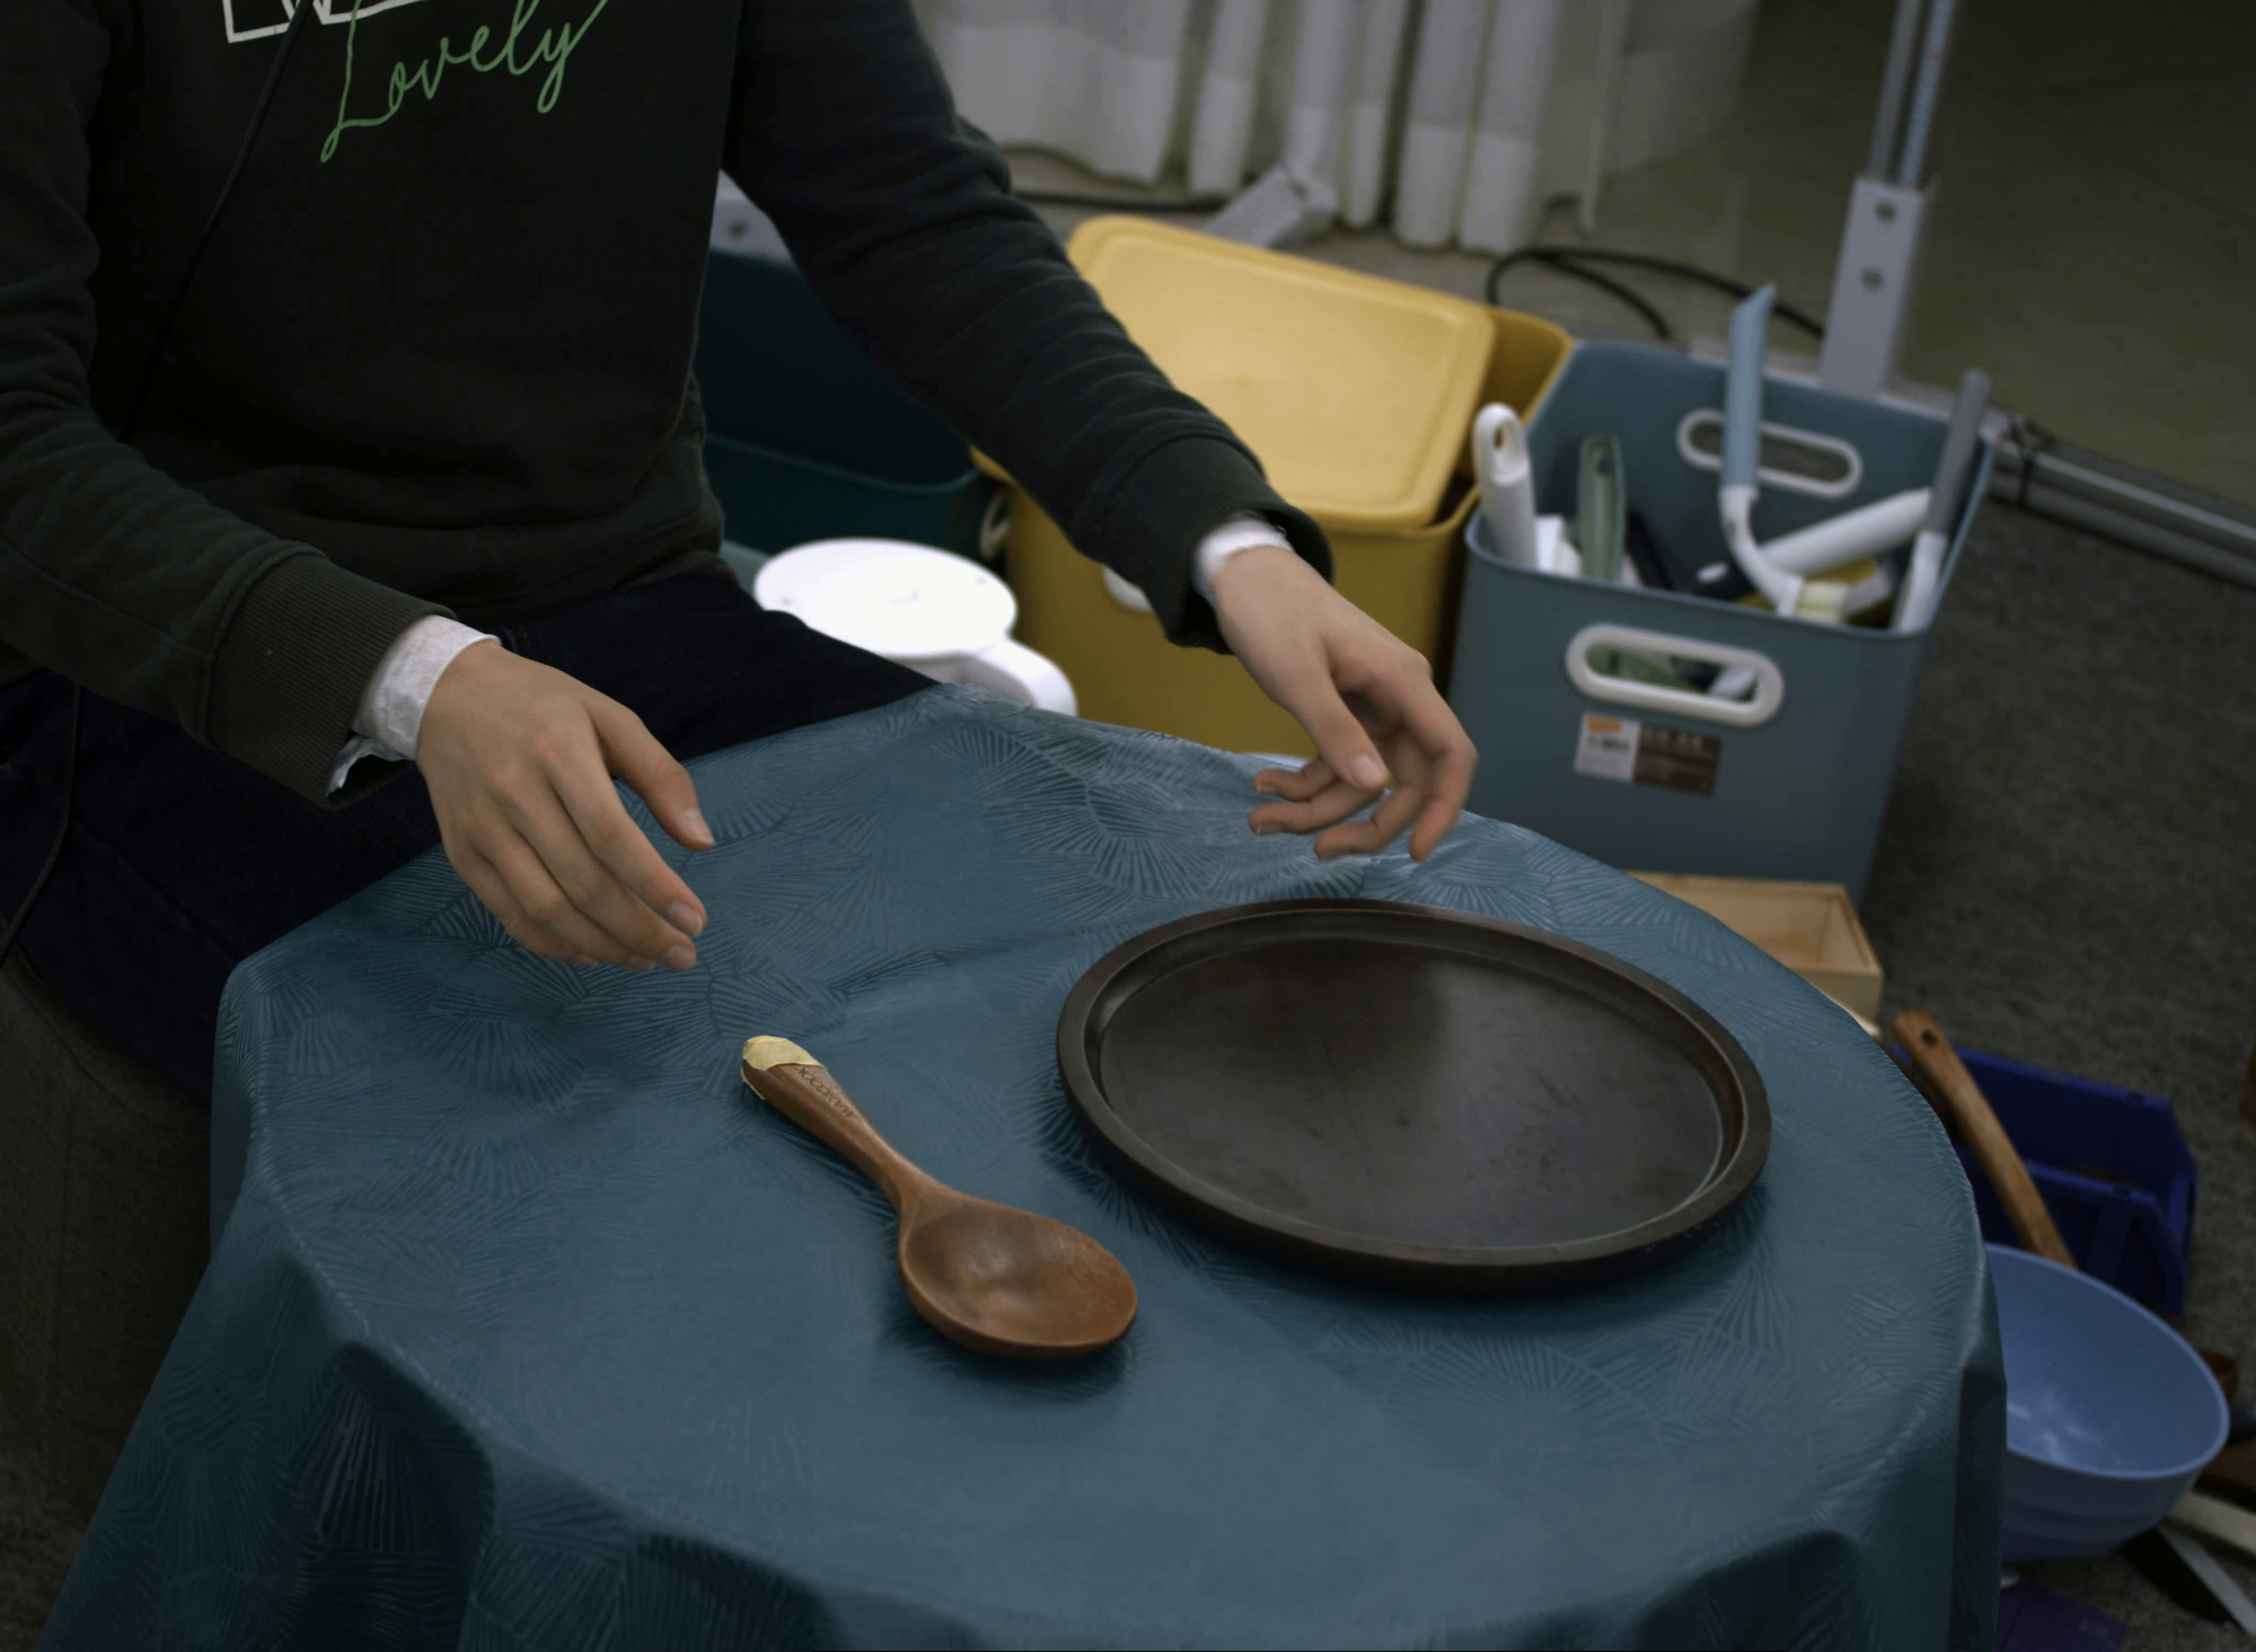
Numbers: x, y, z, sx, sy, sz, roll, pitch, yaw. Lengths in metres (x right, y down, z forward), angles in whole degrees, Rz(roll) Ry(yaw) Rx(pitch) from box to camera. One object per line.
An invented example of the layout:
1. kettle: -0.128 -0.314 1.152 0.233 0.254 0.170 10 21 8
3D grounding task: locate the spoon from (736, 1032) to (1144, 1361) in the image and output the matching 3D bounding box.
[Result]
1. spoon: -0.070 0.123 1.766 0.075 0.017 0.218 -11 32 -31

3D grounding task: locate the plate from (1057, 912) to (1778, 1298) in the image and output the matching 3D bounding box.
1. plate: 0.100 0.095 1.856 0.254 0.029 0.256 6 27 -3
